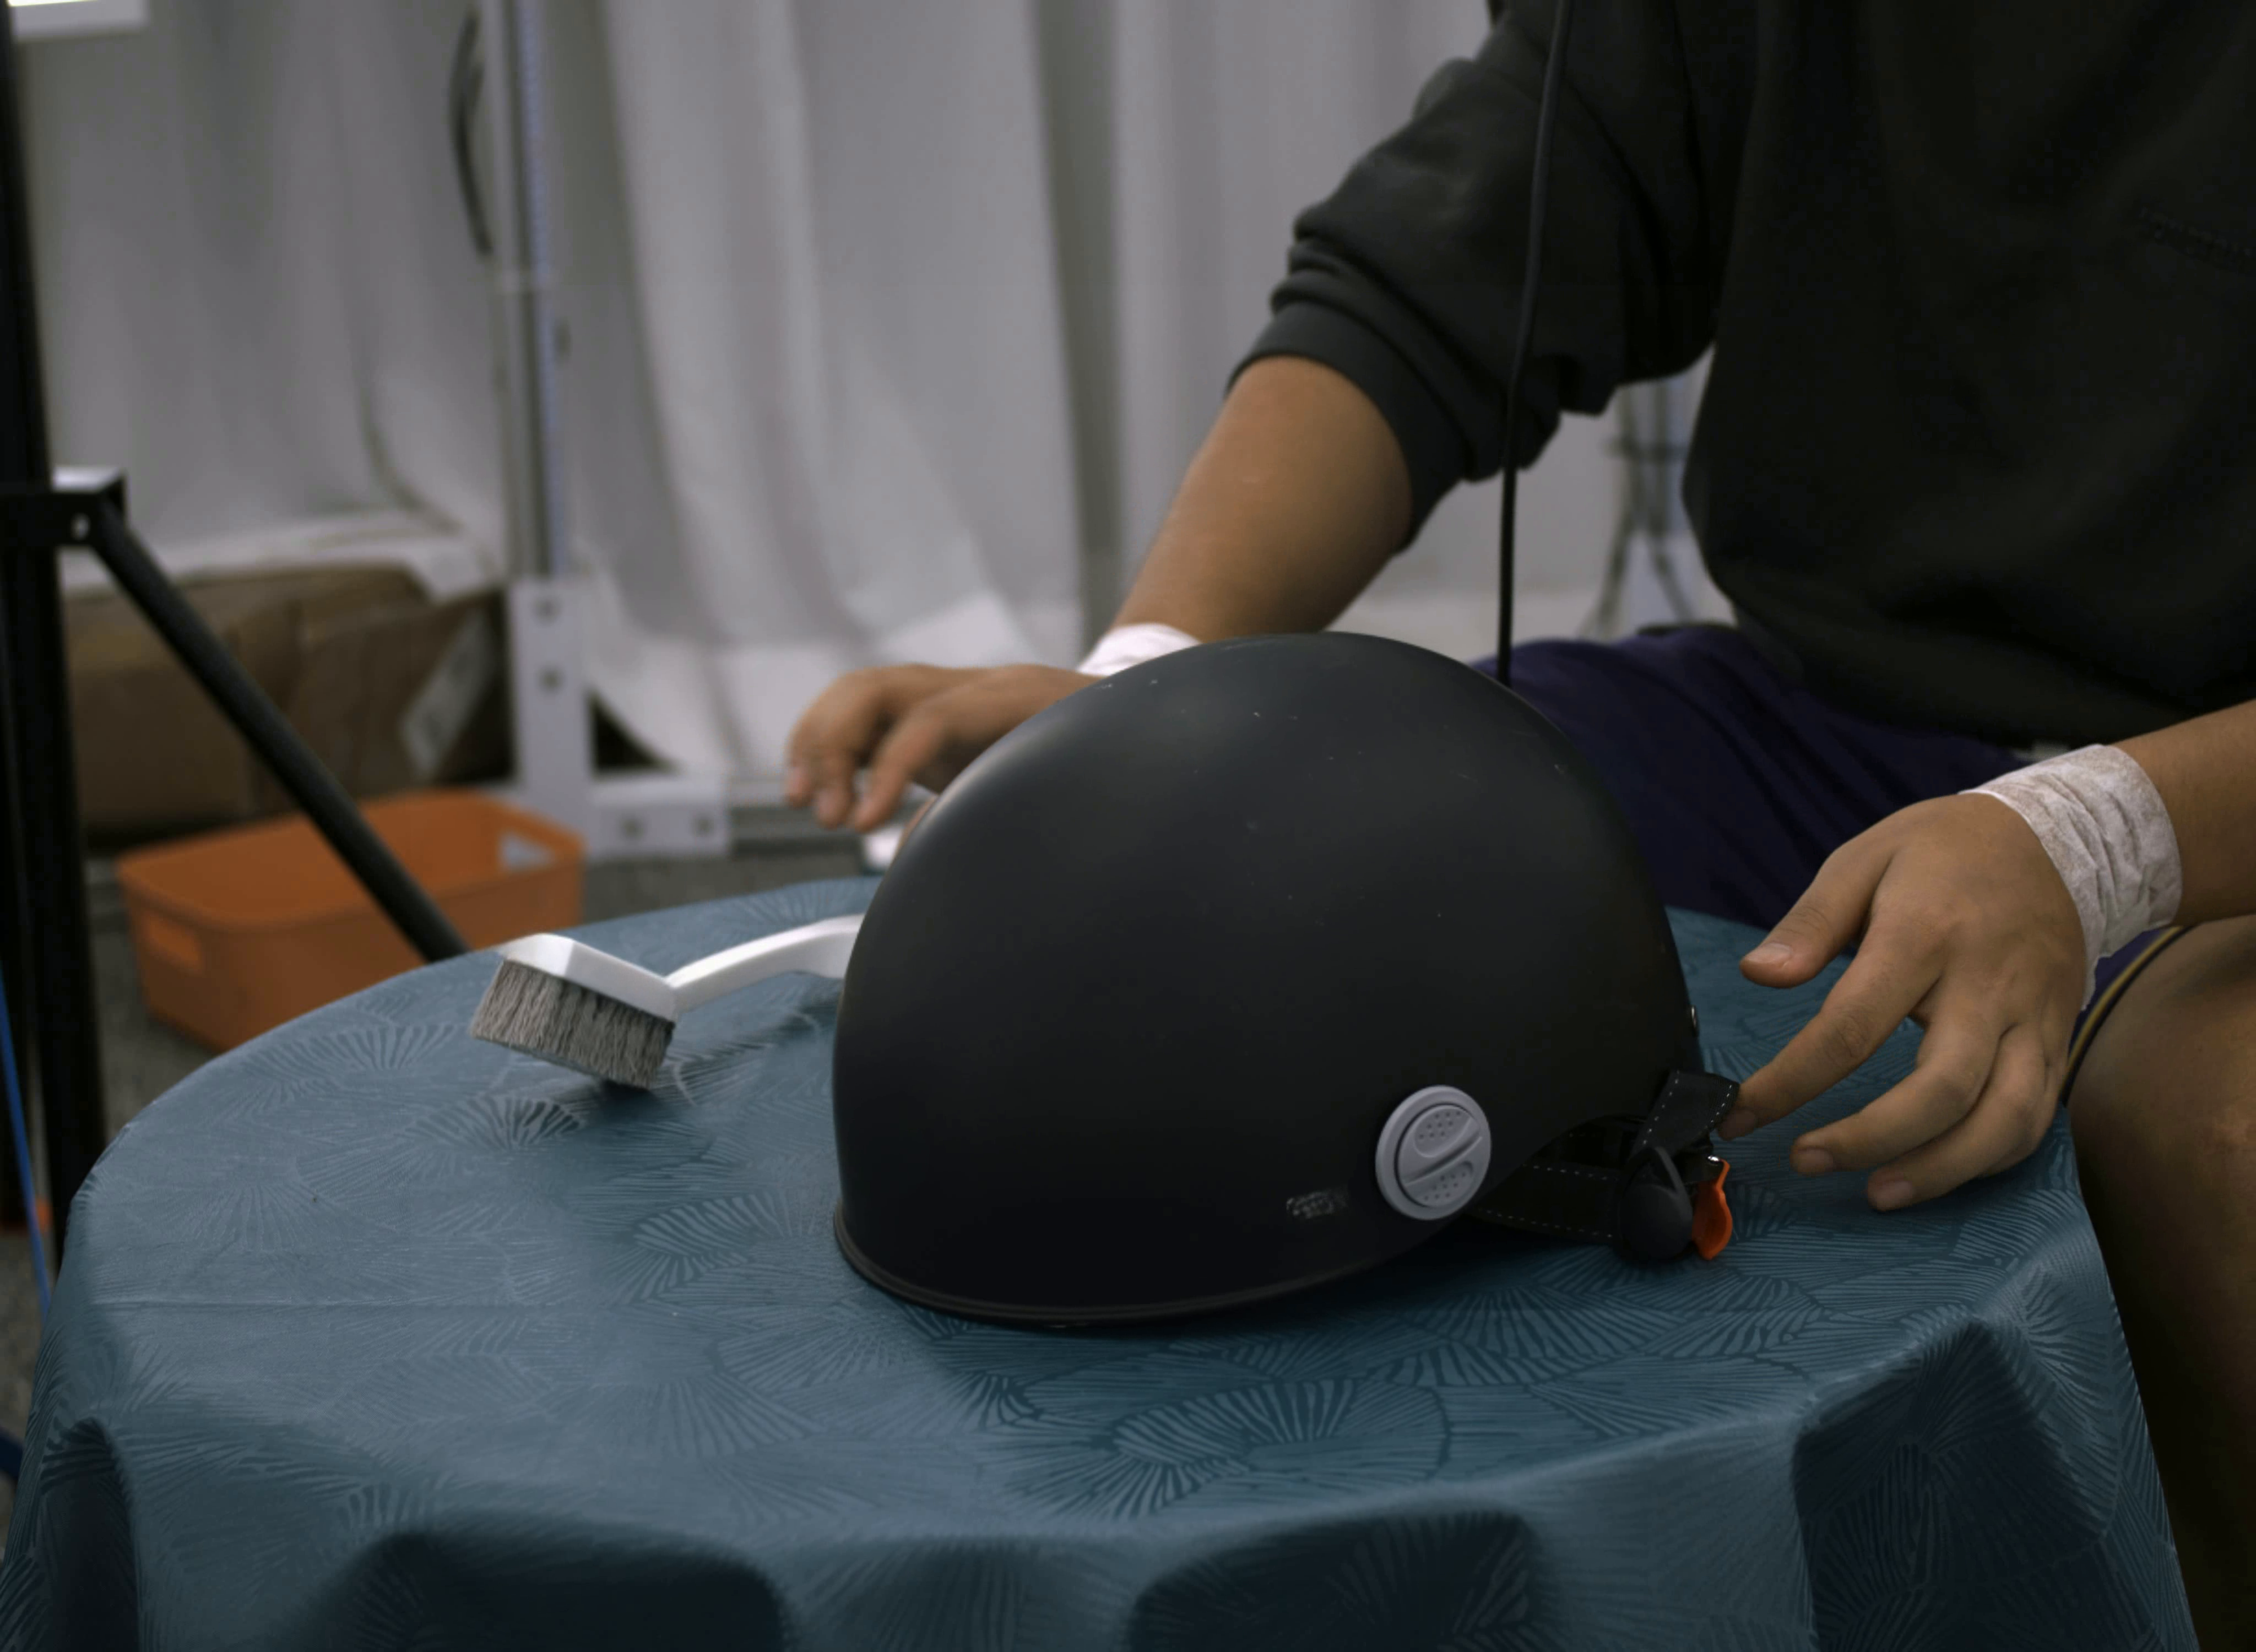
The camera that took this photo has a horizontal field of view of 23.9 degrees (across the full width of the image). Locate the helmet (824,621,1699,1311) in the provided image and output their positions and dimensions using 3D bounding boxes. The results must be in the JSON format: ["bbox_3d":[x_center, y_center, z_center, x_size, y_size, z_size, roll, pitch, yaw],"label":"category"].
[{"bbox_3d":[0.034,0.030,1.542,0.267,0.167,0.235,-17,18,-37],"label":"helmet"}]

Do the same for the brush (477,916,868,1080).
[{"bbox_3d":[-0.116,0.054,1.727,0.035,0.050,0.237,5,3,39],"label":"brush"}]
